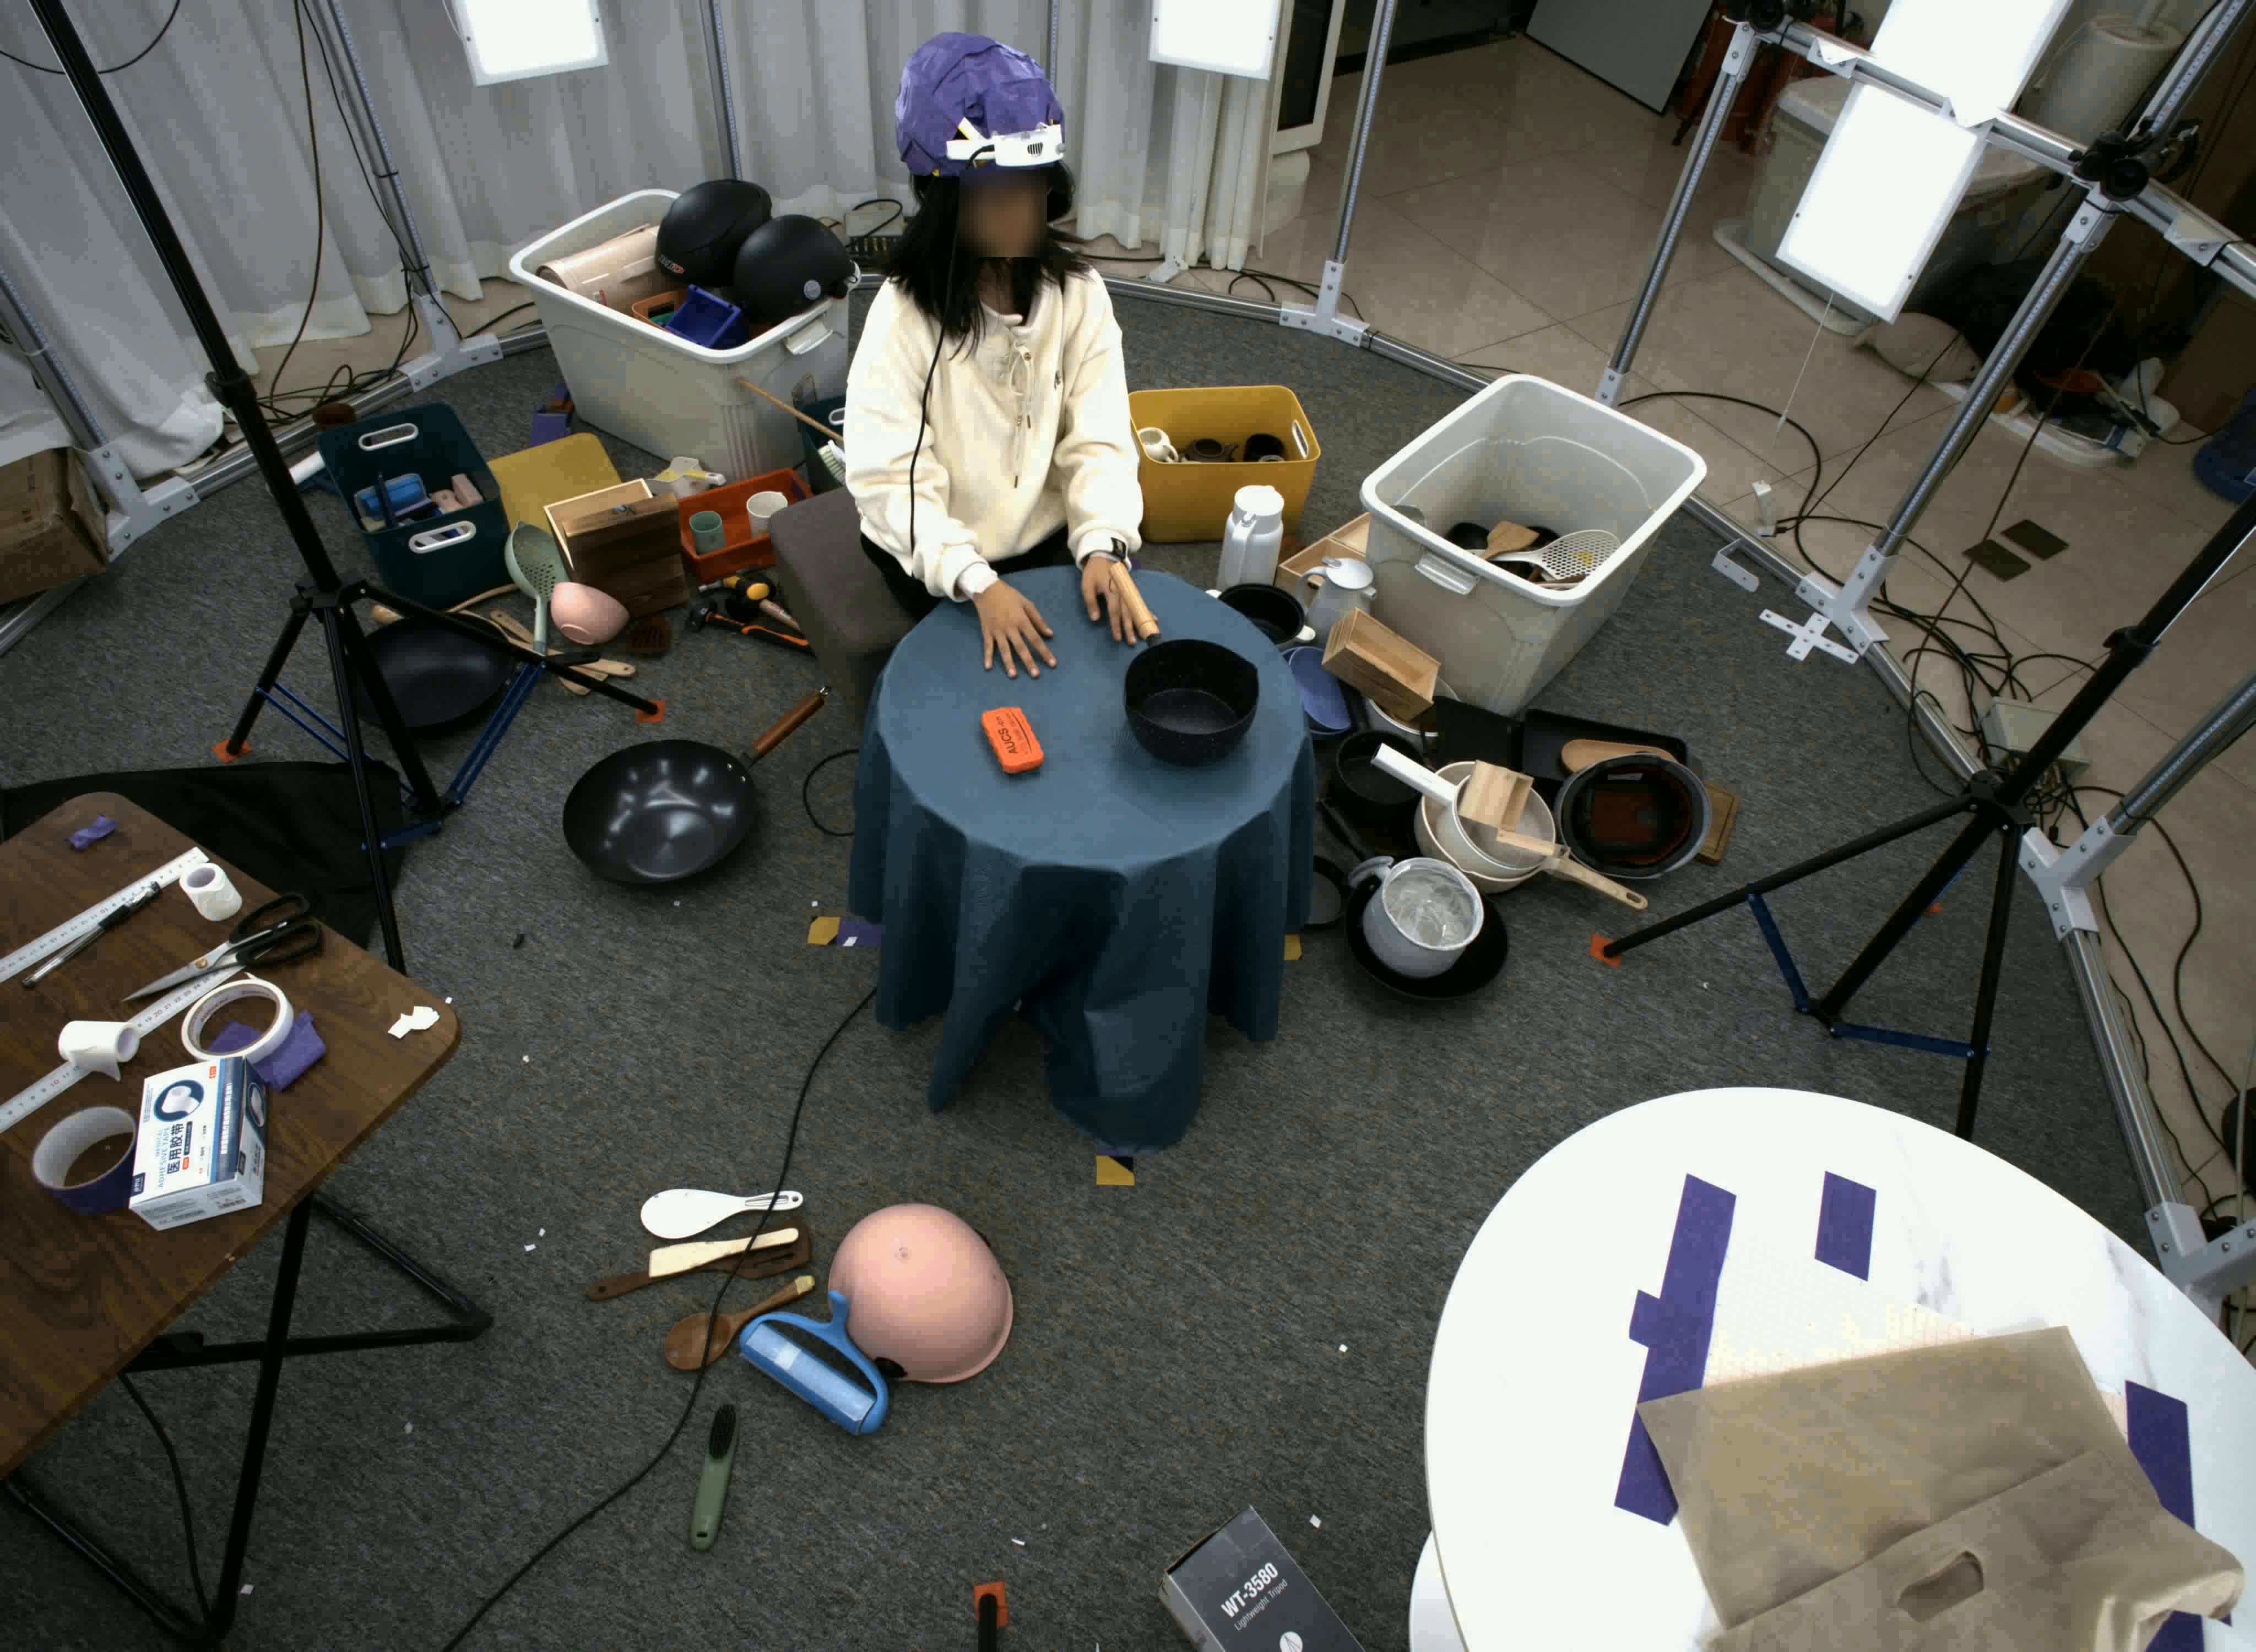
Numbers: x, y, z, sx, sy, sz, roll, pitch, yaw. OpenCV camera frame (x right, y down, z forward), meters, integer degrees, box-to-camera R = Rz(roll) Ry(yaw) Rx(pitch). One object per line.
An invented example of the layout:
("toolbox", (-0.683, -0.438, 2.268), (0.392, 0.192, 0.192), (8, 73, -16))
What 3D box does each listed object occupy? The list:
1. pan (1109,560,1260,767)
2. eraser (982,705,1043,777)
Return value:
("pan", (0.049, -0.229, 1.802), (0.208, 0.105, 0.350), (-19, 55, -18))
("eraser", (-0.157, -0.116, 1.745), (0.059, 0.022, 0.110), (-16, 52, -15))
